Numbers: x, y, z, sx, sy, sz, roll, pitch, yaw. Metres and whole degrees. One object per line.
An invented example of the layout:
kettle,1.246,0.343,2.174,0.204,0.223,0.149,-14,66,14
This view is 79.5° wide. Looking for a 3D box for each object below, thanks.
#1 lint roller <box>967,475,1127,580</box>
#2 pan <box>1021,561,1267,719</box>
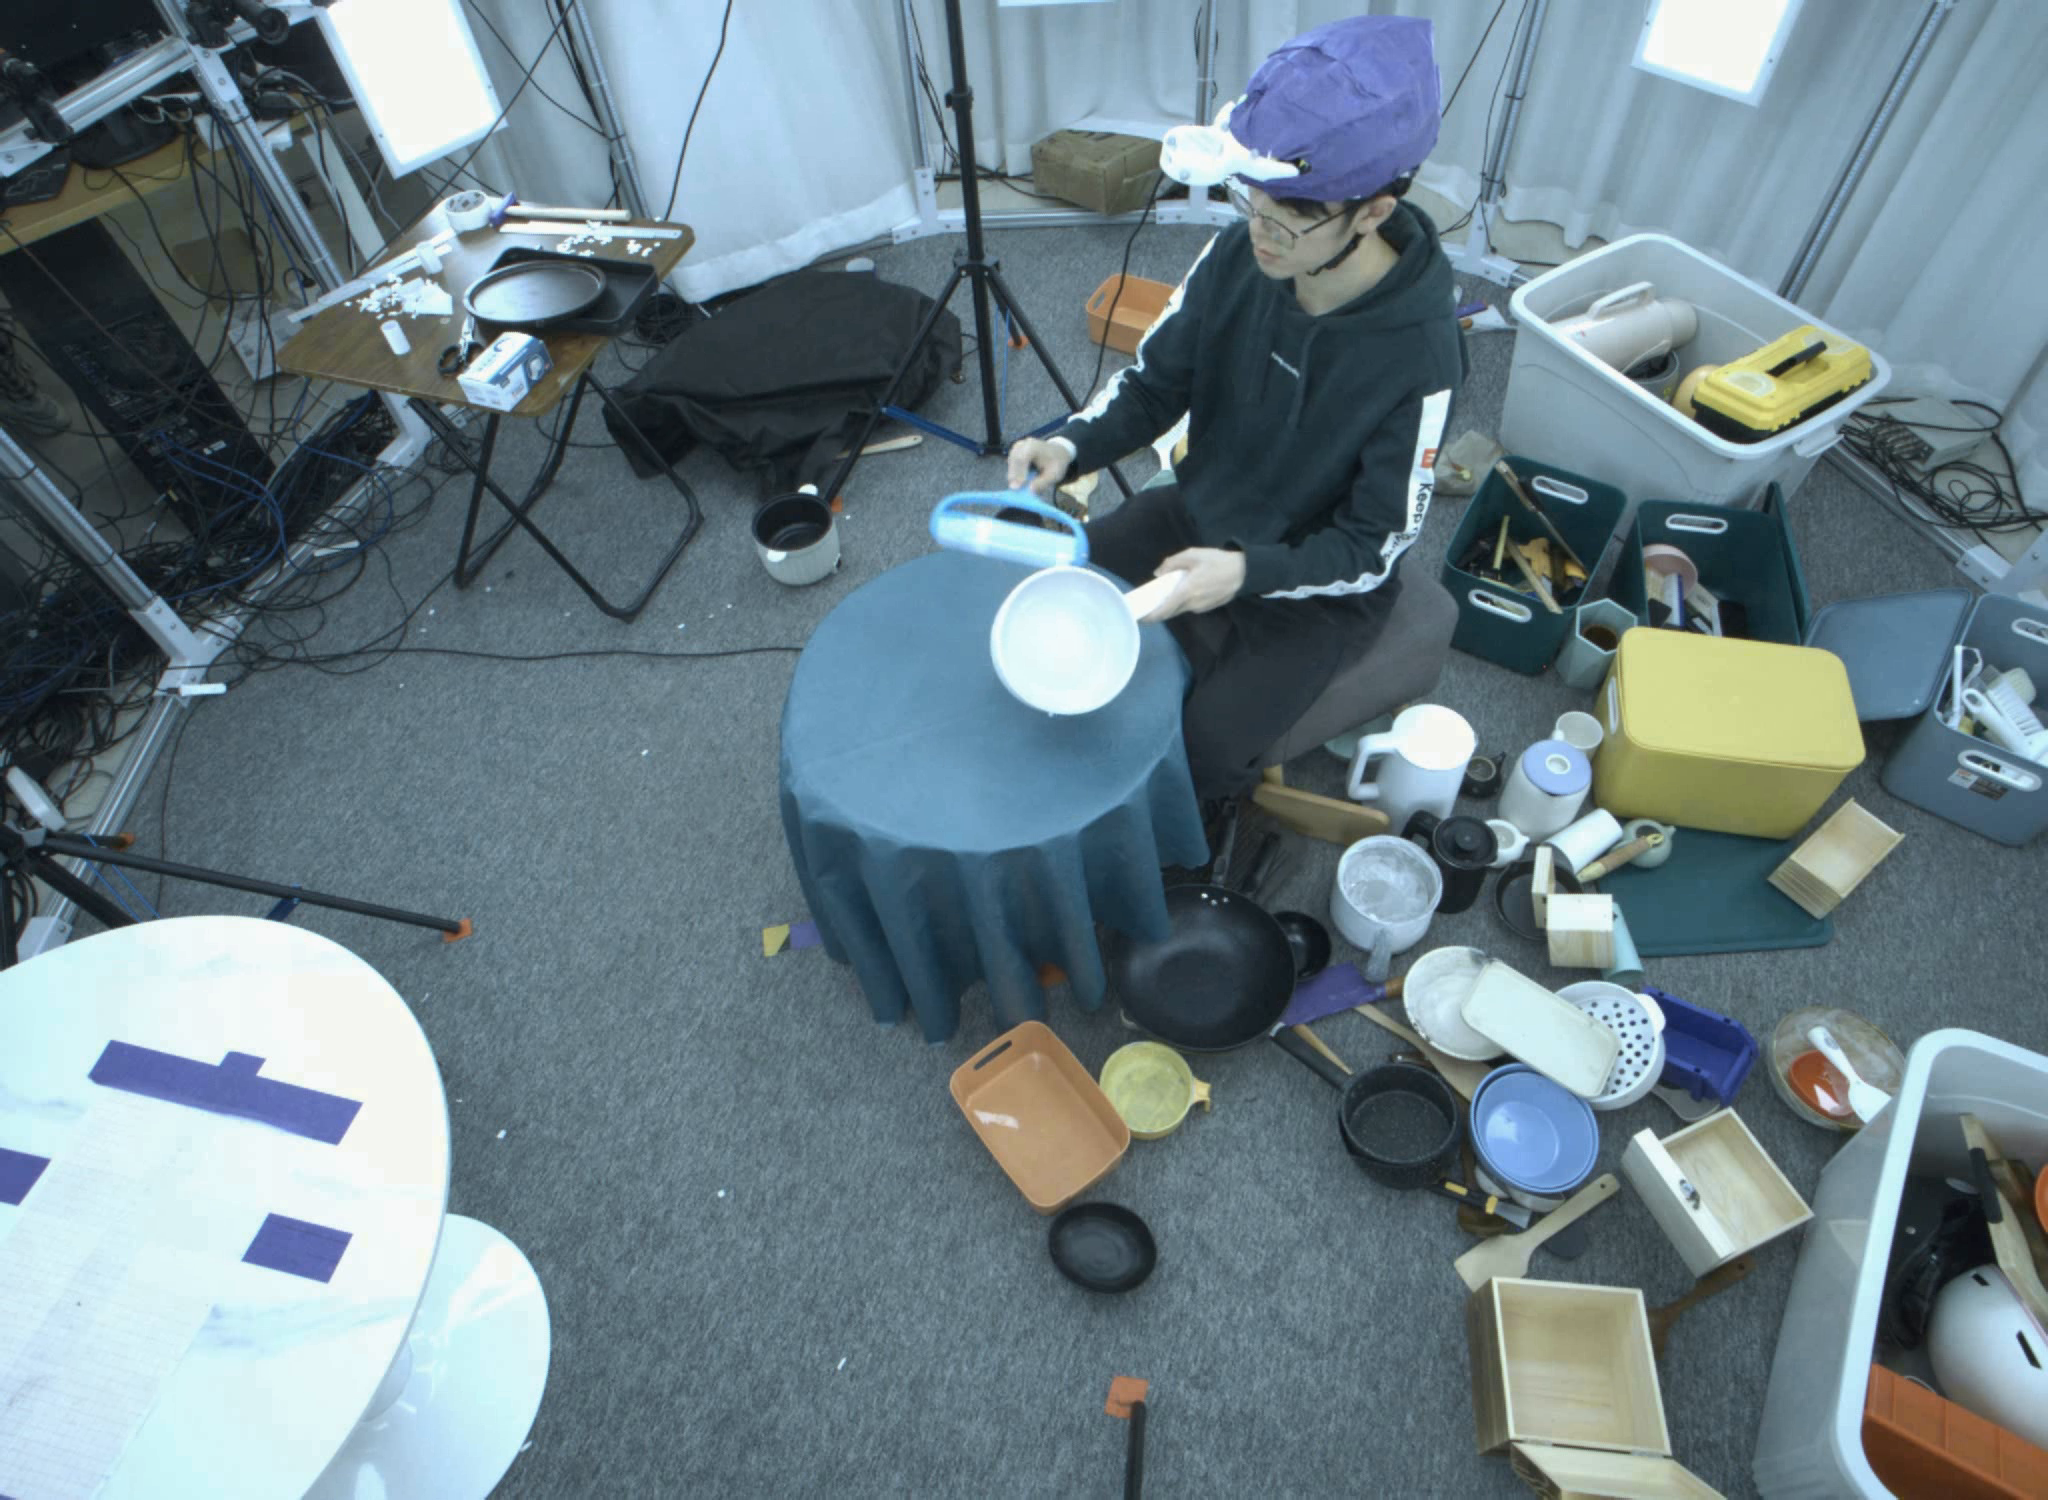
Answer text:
lint roller,0.043,-0.336,1.735,0.228,0.068,0.179,10,66,6
pan,0.164,-0.176,1.720,0.356,0.101,0.202,-26,97,-10
